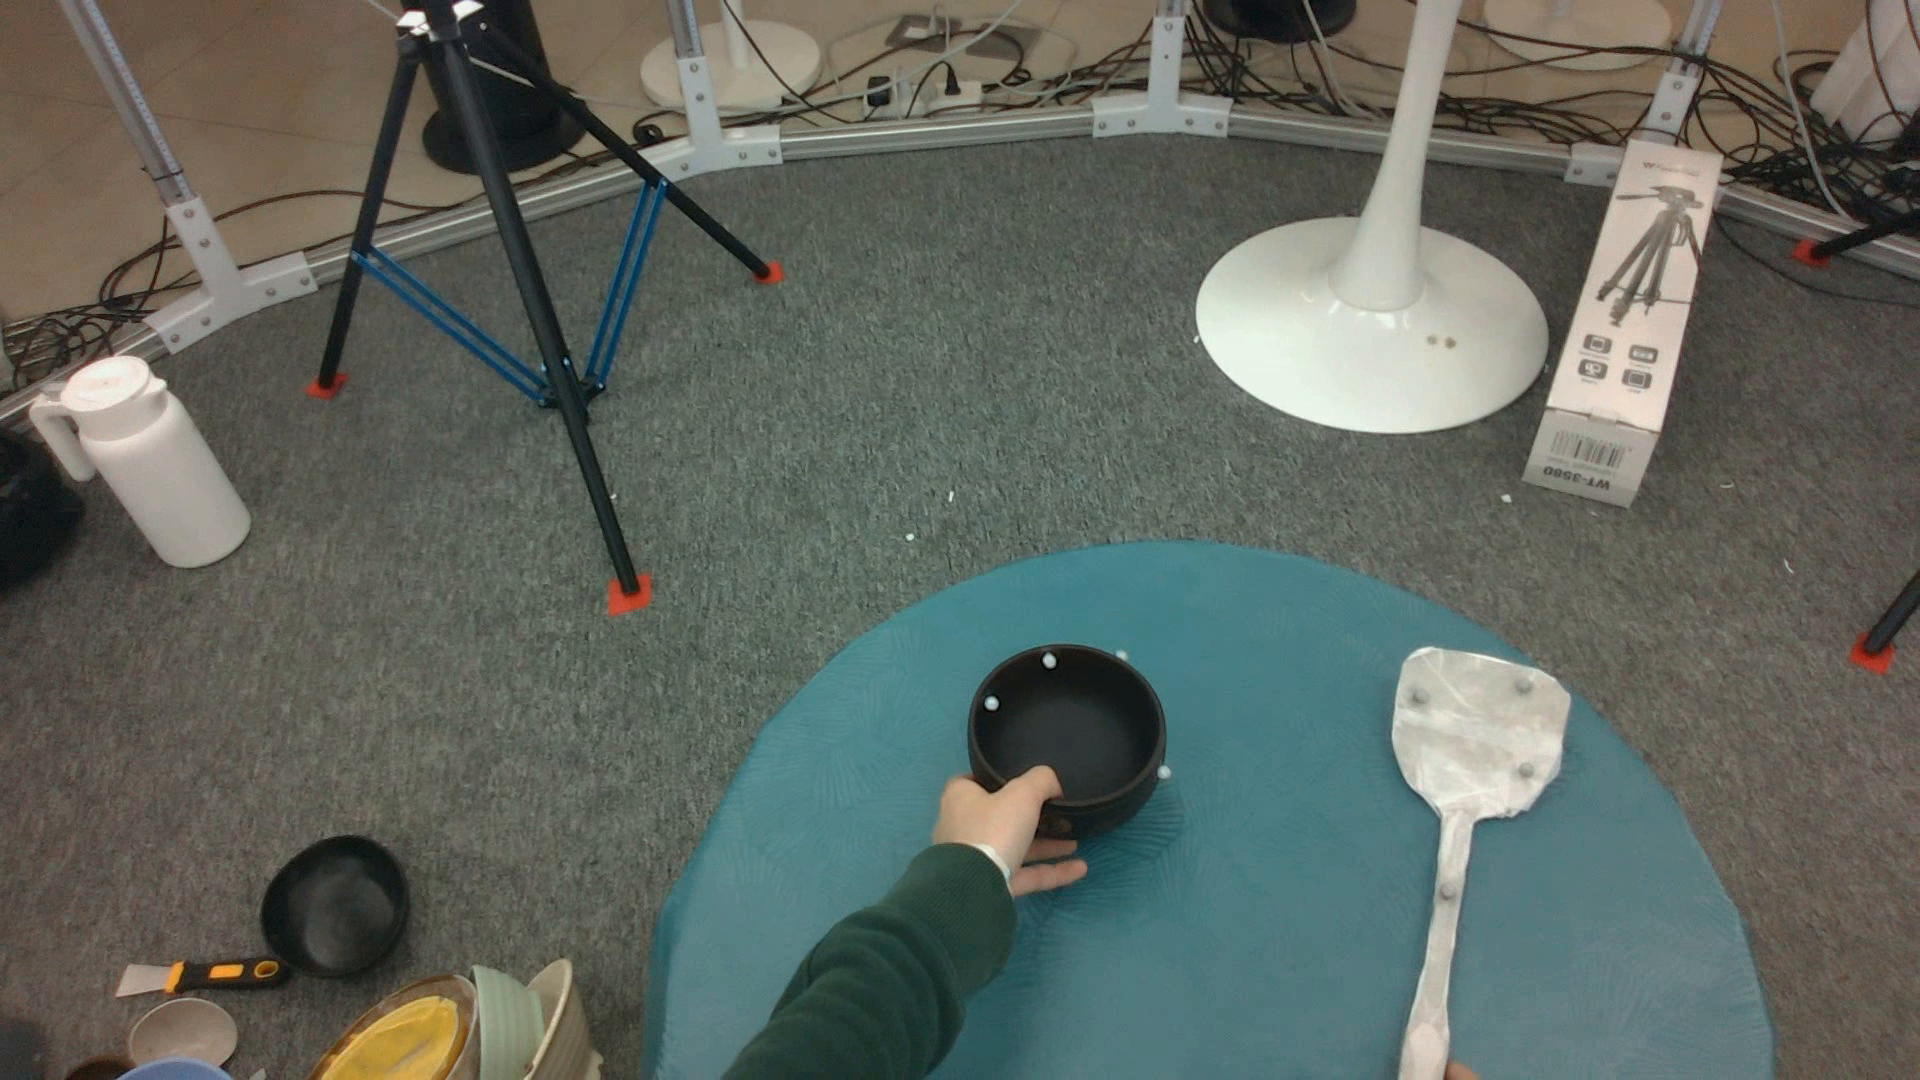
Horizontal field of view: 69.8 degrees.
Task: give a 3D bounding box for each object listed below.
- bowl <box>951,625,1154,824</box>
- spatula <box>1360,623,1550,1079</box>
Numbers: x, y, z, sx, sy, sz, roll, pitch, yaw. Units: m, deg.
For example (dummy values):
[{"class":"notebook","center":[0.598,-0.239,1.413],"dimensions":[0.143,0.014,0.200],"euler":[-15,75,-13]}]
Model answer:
[{"class":"bowl","center":[0.055,0.116,0.817],"dimensions":[0.118,0.069,0.118],"euler":[-2,49,3]},{"class":"spatula","center":[0.253,0.198,0.757],"dimensions":[0.098,0.044,0.367],"euler":[16,50,15]}]
